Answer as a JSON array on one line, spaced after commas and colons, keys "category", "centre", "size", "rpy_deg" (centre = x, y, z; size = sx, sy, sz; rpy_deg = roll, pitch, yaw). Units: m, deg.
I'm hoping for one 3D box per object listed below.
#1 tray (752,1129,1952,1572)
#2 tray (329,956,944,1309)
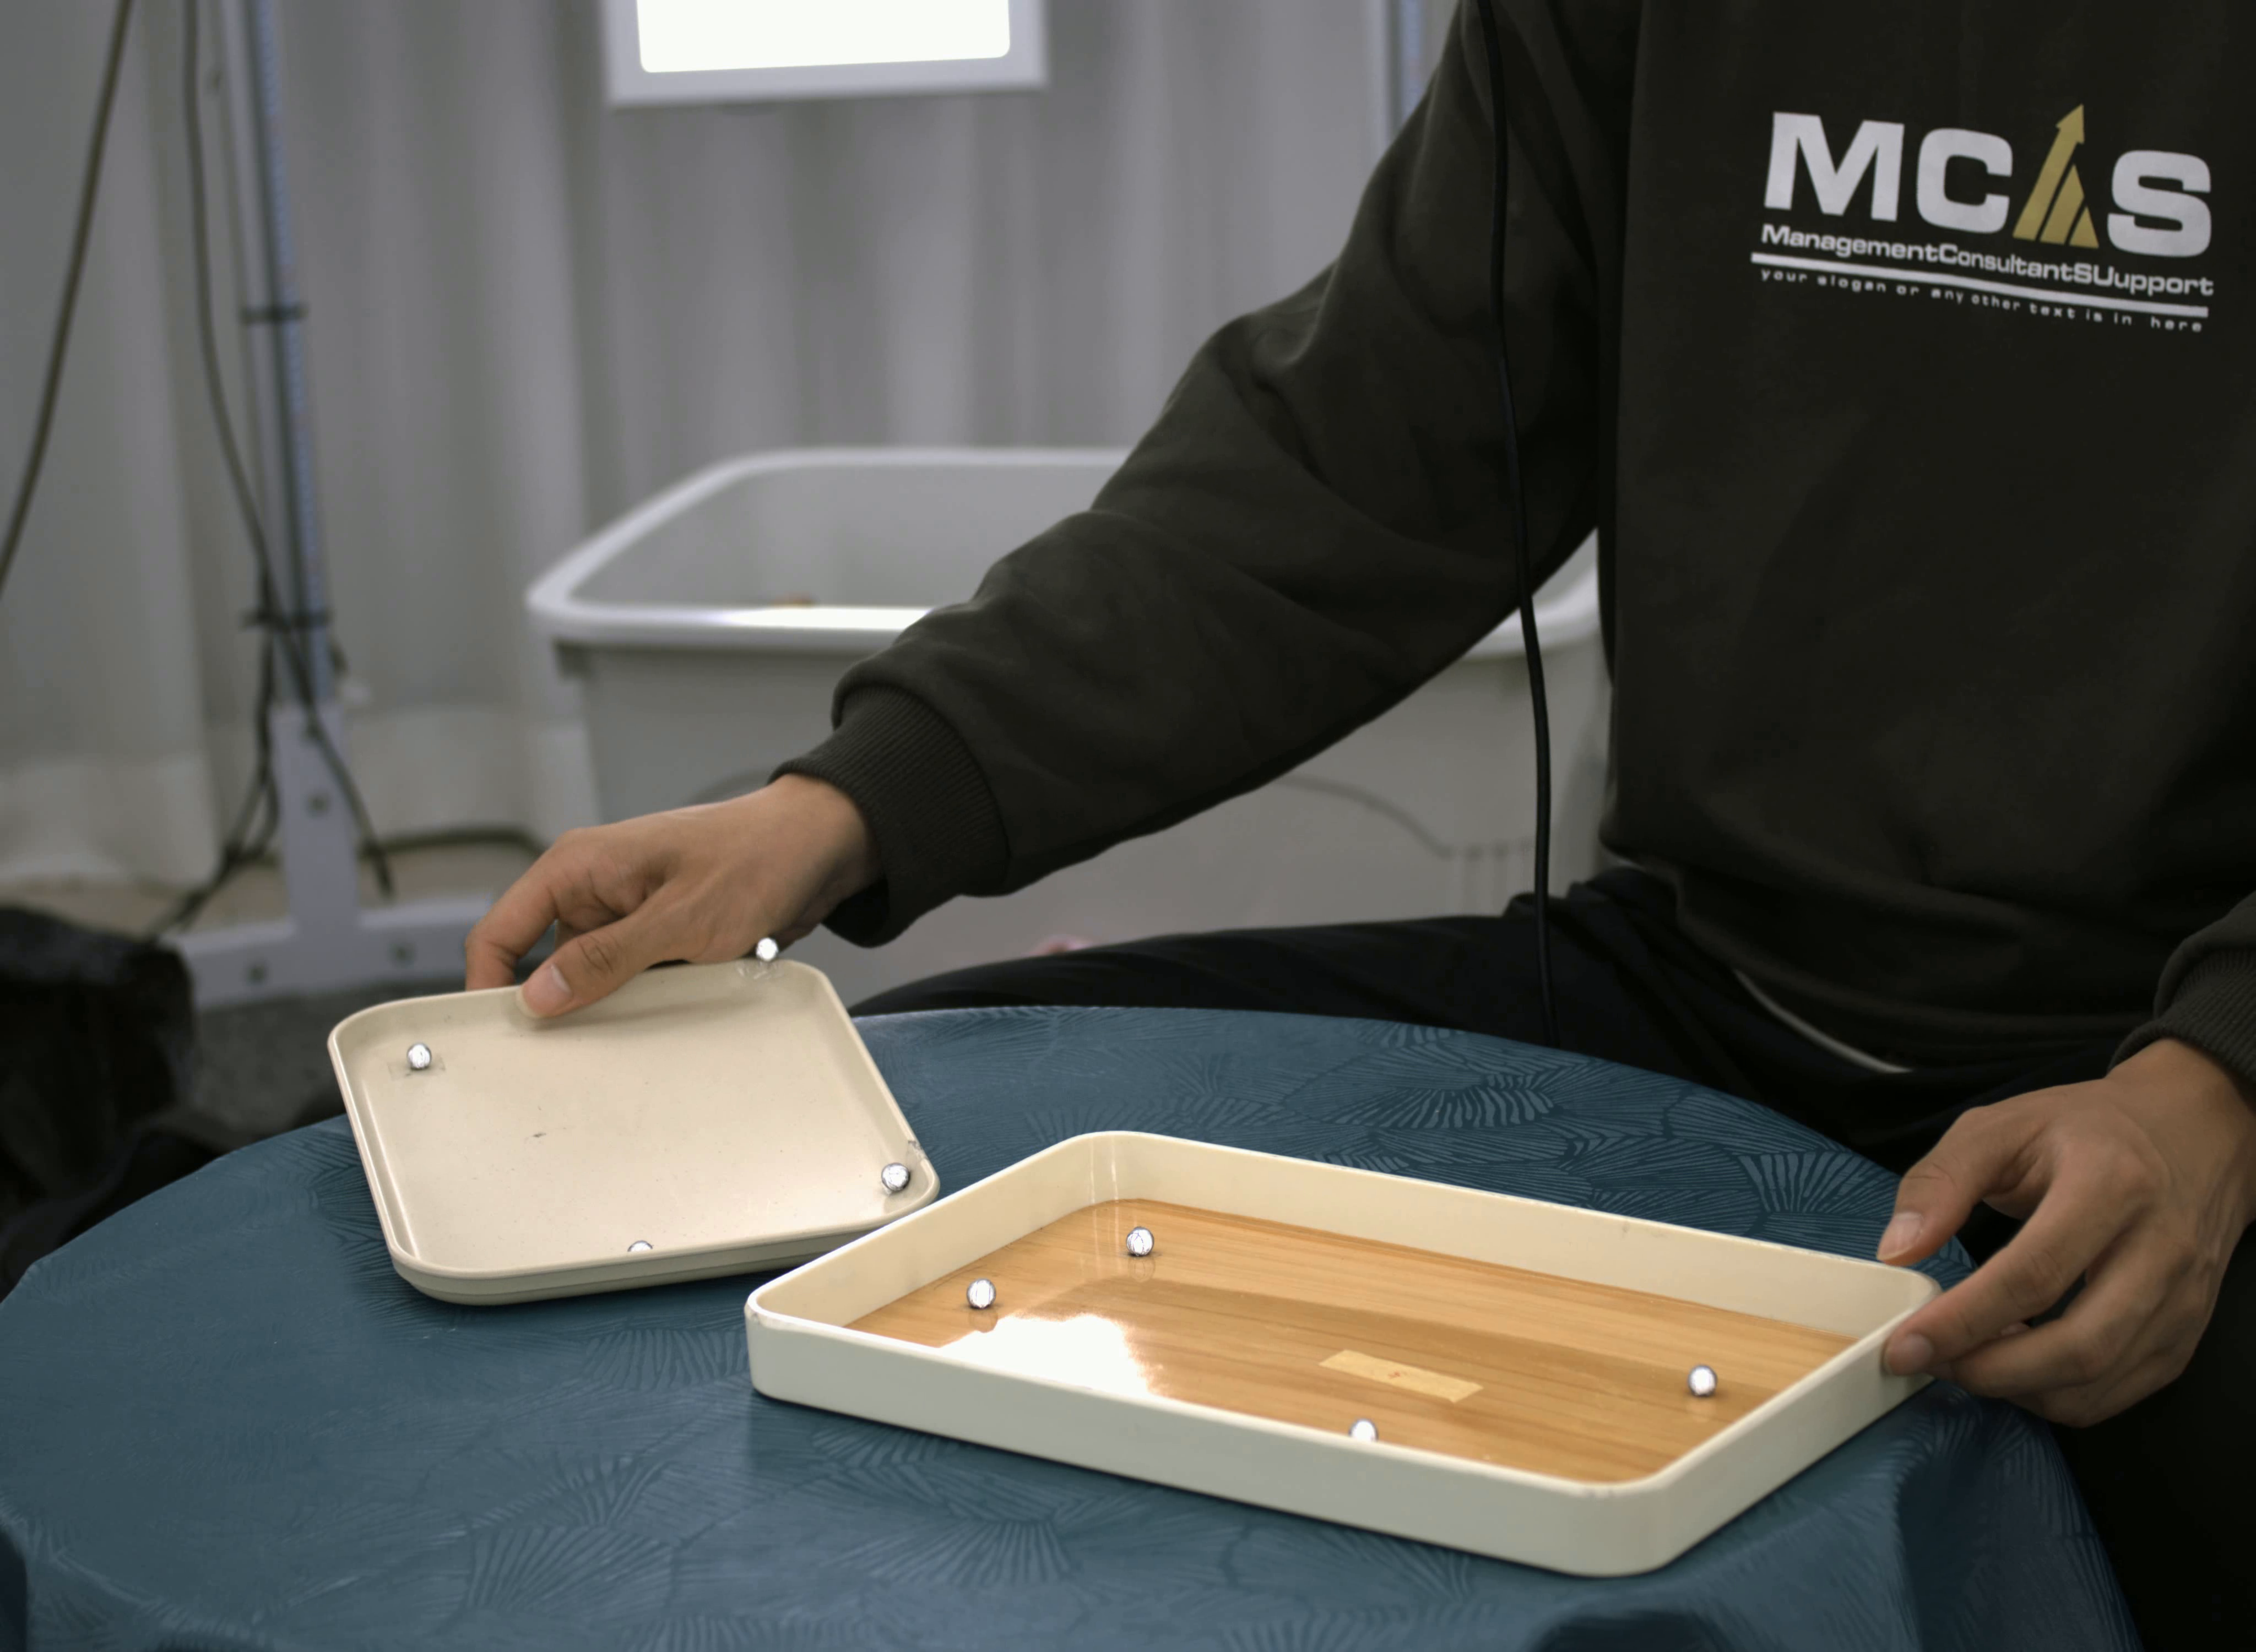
[{"category": "tray", "centre": [0.062, 0.144, 1.547], "size": [0.301, 0.027, 0.191], "rpy_deg": [8, 18, 34]}, {"category": "tray", "centre": [-0.160, 0.096, 1.749], "size": [0.170, 0.017, 0.242], "rpy_deg": [-8, 20, -12]}]
